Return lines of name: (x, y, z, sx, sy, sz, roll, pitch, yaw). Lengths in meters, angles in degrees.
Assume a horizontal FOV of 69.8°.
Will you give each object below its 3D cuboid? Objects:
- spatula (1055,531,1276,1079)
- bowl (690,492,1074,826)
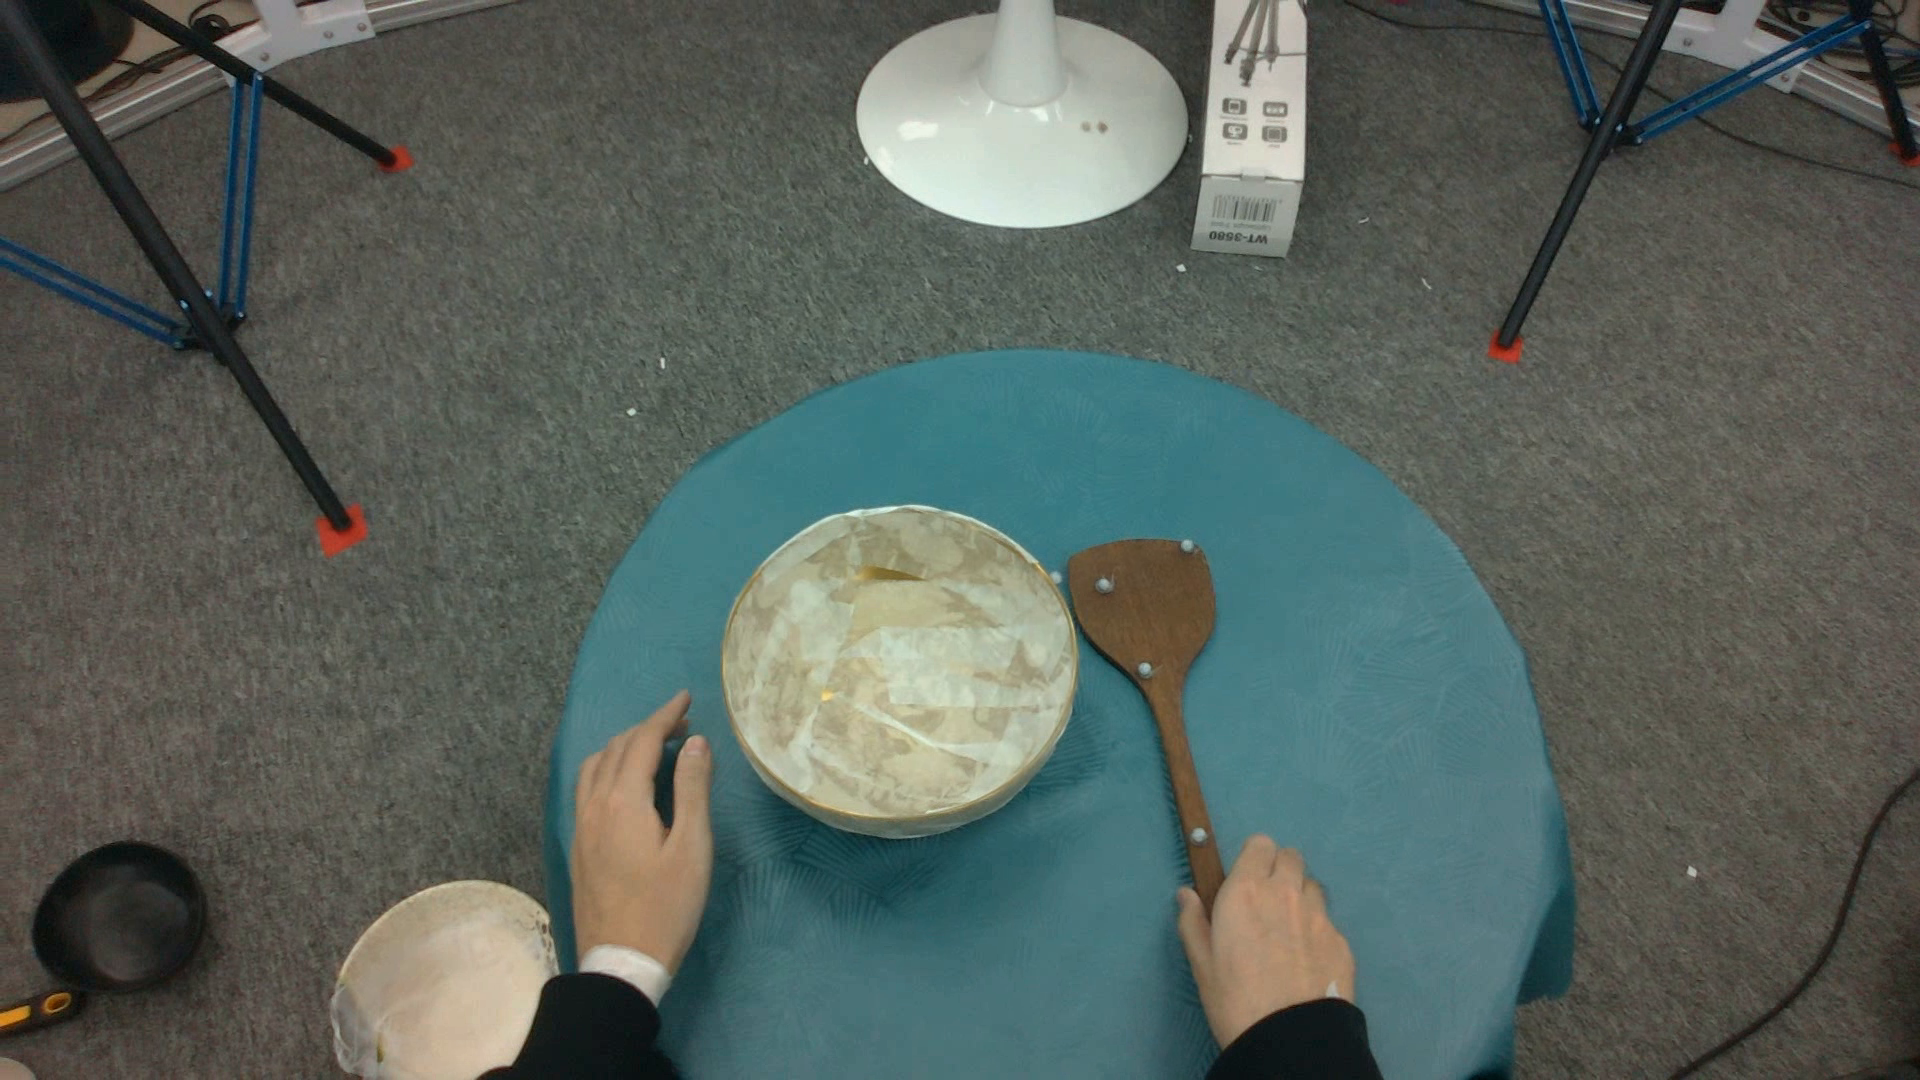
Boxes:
spatula: (0.128, 0.150, 0.795, 0.096, 0.016, 0.387, -5, 53, -5)
bowl: (-0.043, 0.082, 0.795, 0.215, 0.094, 0.215, 2, 56, -2)
